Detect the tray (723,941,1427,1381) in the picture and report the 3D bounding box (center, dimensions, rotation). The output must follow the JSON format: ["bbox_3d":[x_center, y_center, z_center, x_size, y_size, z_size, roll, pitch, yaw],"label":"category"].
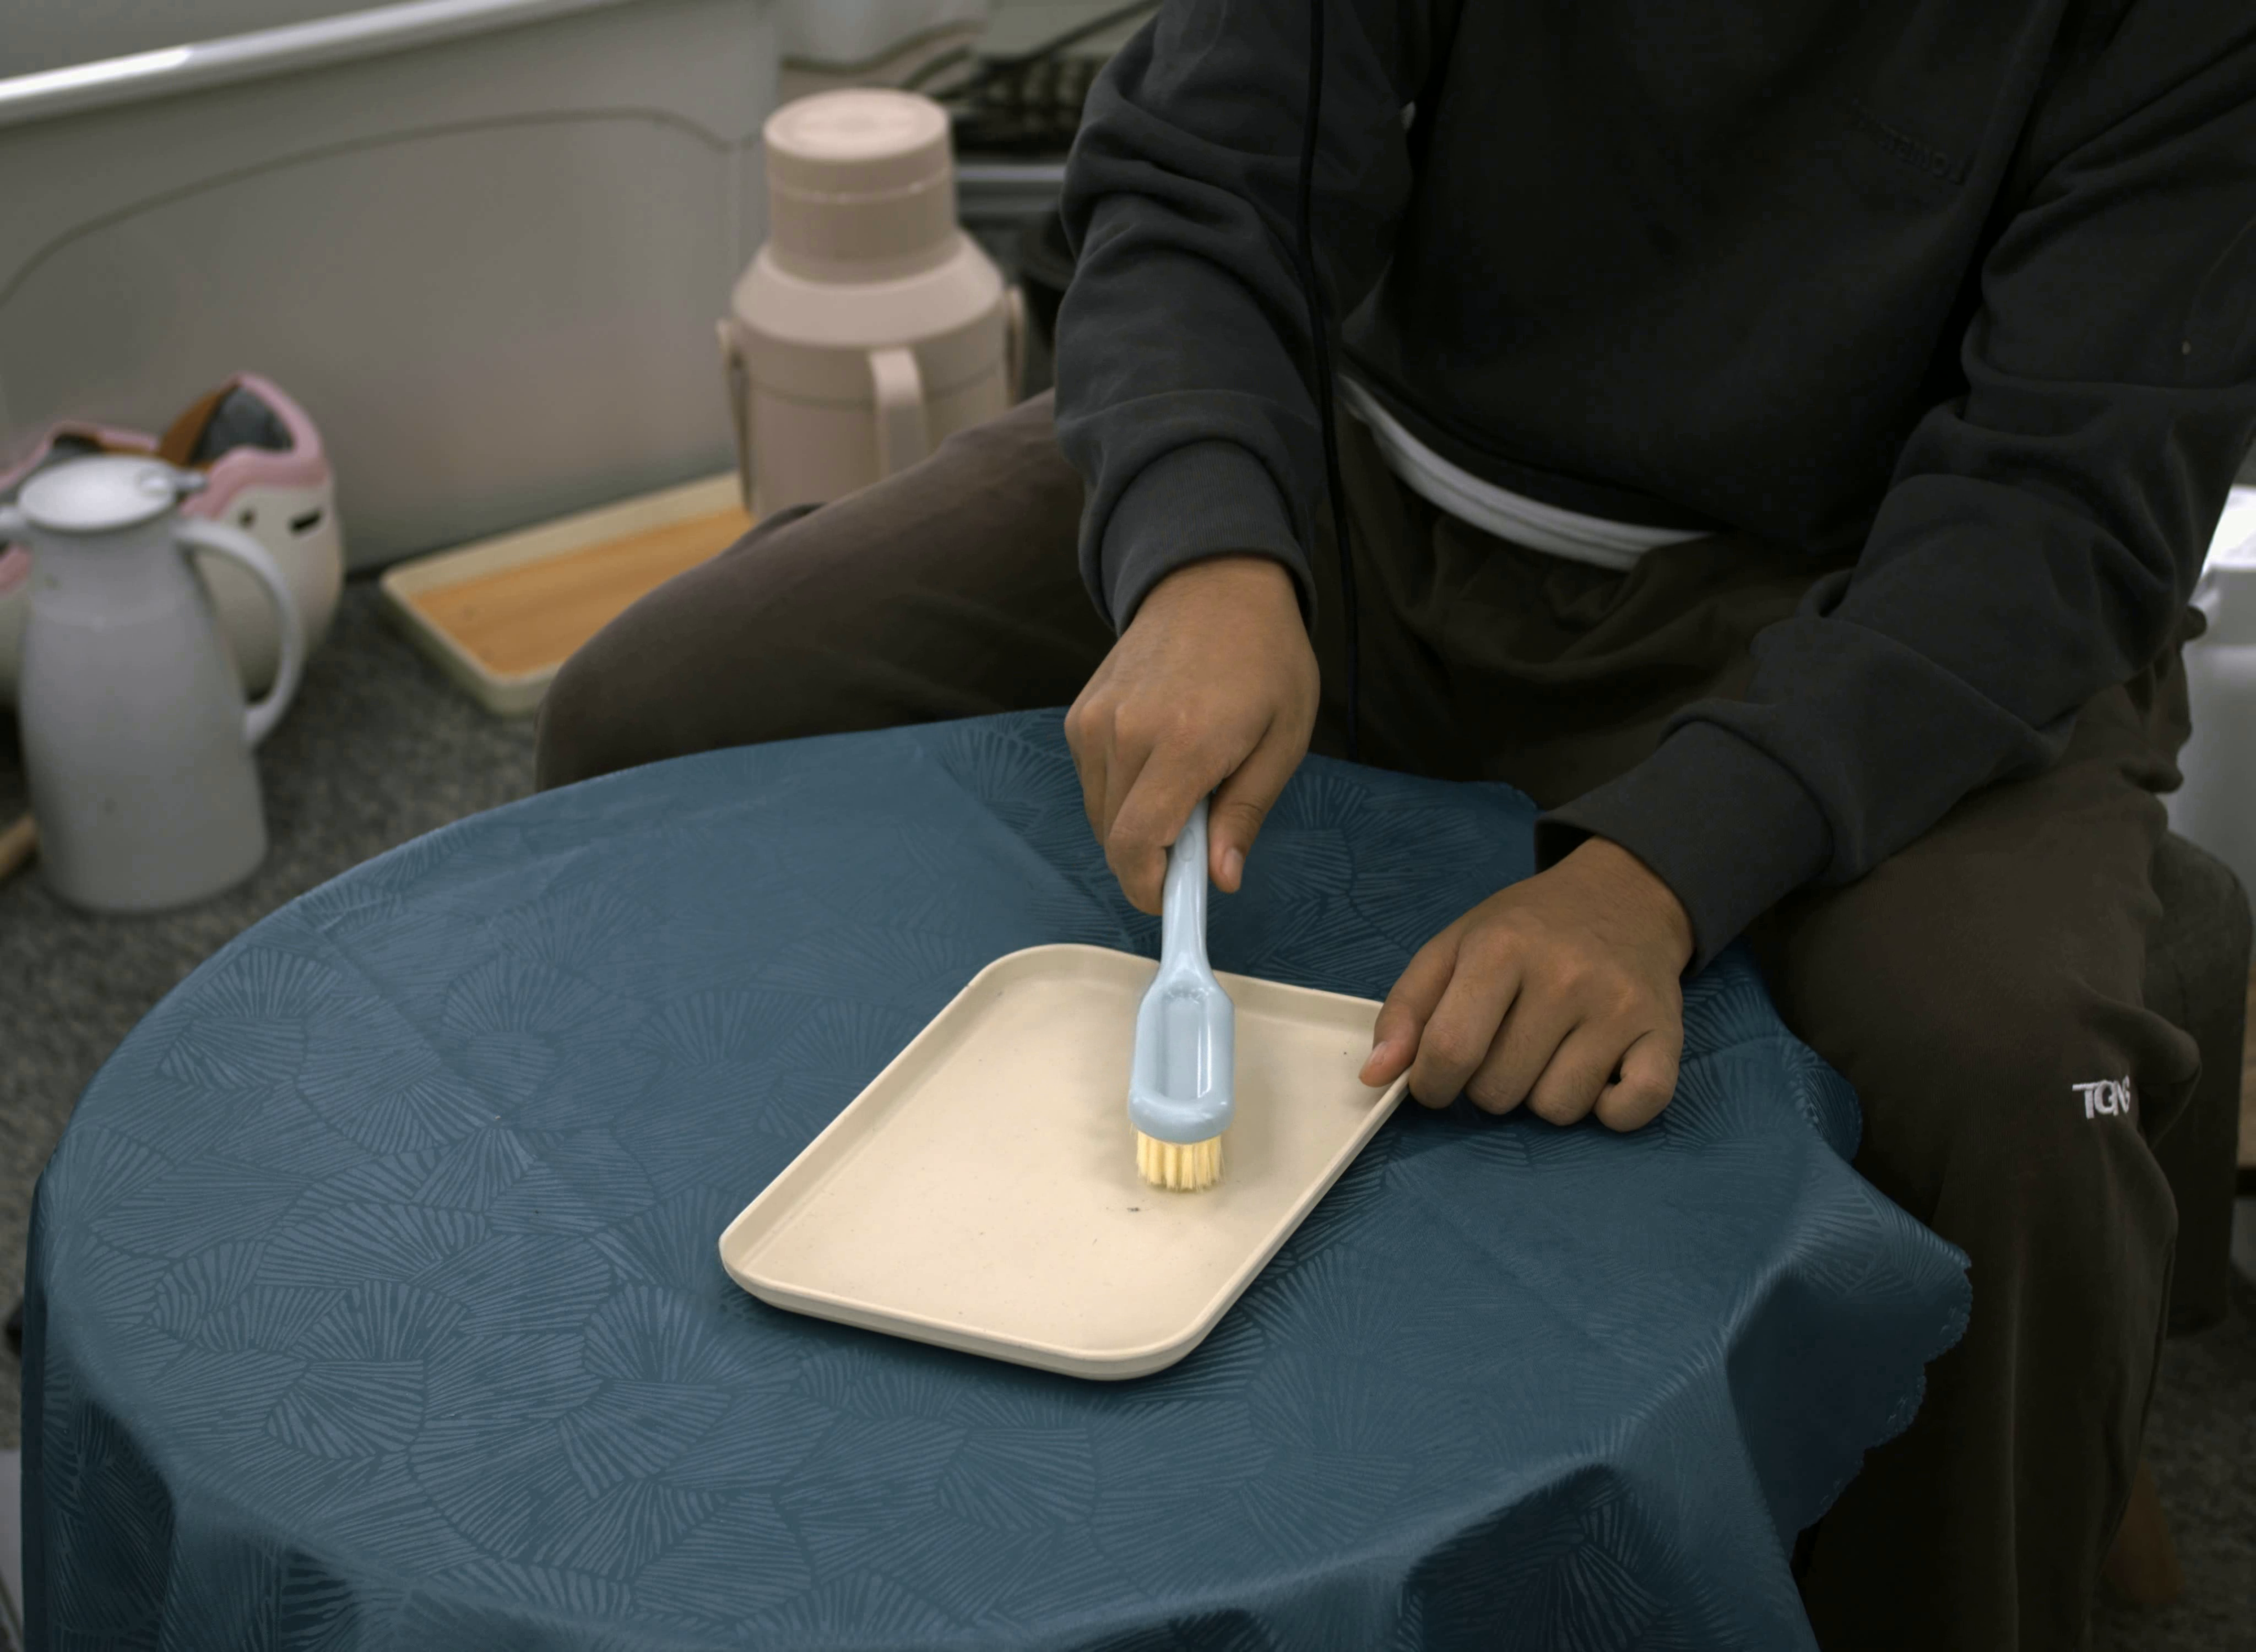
[{"bbox_3d":[-0.014,0.110,1.869,0.170,0.017,0.243,11,30,23],"label":"tray"}]

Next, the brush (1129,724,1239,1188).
[{"bbox_3d":[0.017,0.040,1.940,0.037,0.049,0.233,1,40,-2],"label":"brush"}]
